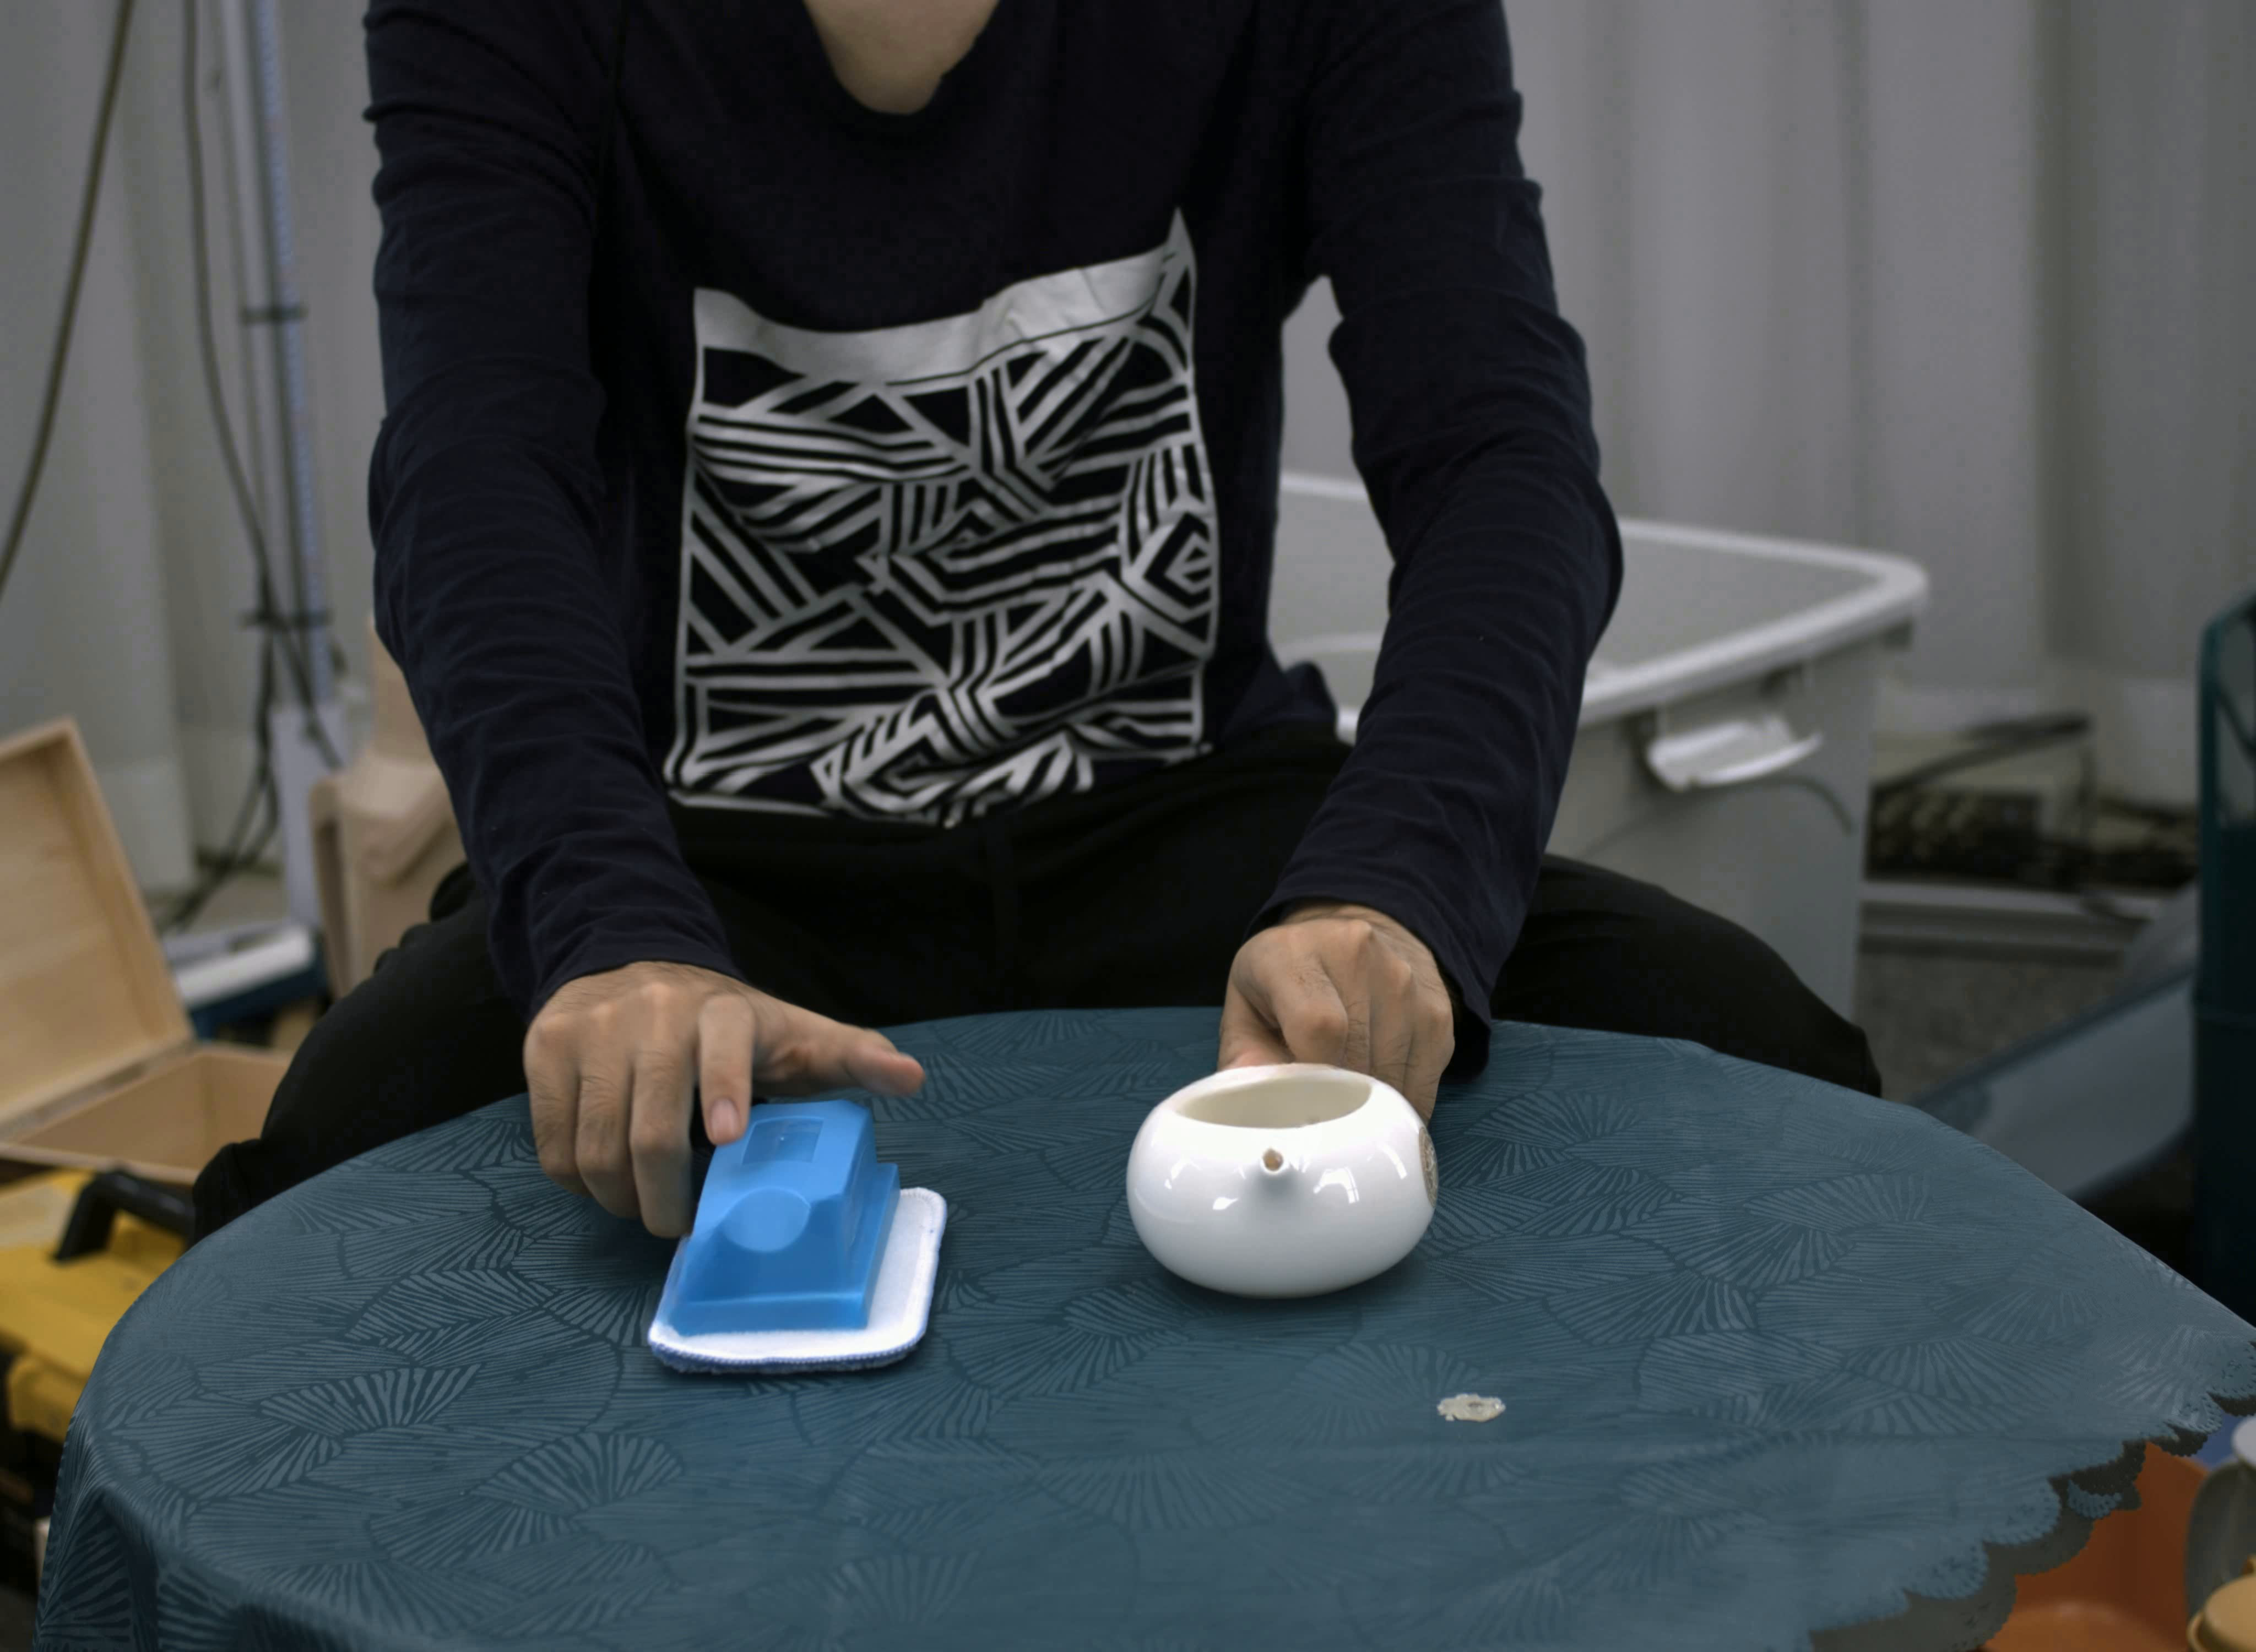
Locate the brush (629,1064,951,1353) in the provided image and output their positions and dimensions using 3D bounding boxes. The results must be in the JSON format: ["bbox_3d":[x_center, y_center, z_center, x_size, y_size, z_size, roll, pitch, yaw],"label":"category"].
[{"bbox_3d":[-0.100,0.111,1.633,0.083,0.055,0.145,1,17,5],"label":"brush"}]

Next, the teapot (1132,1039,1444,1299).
[{"bbox_3d":[0.047,0.103,1.642,0.093,0.056,0.128,-7,16,-1],"label":"teapot"}]
